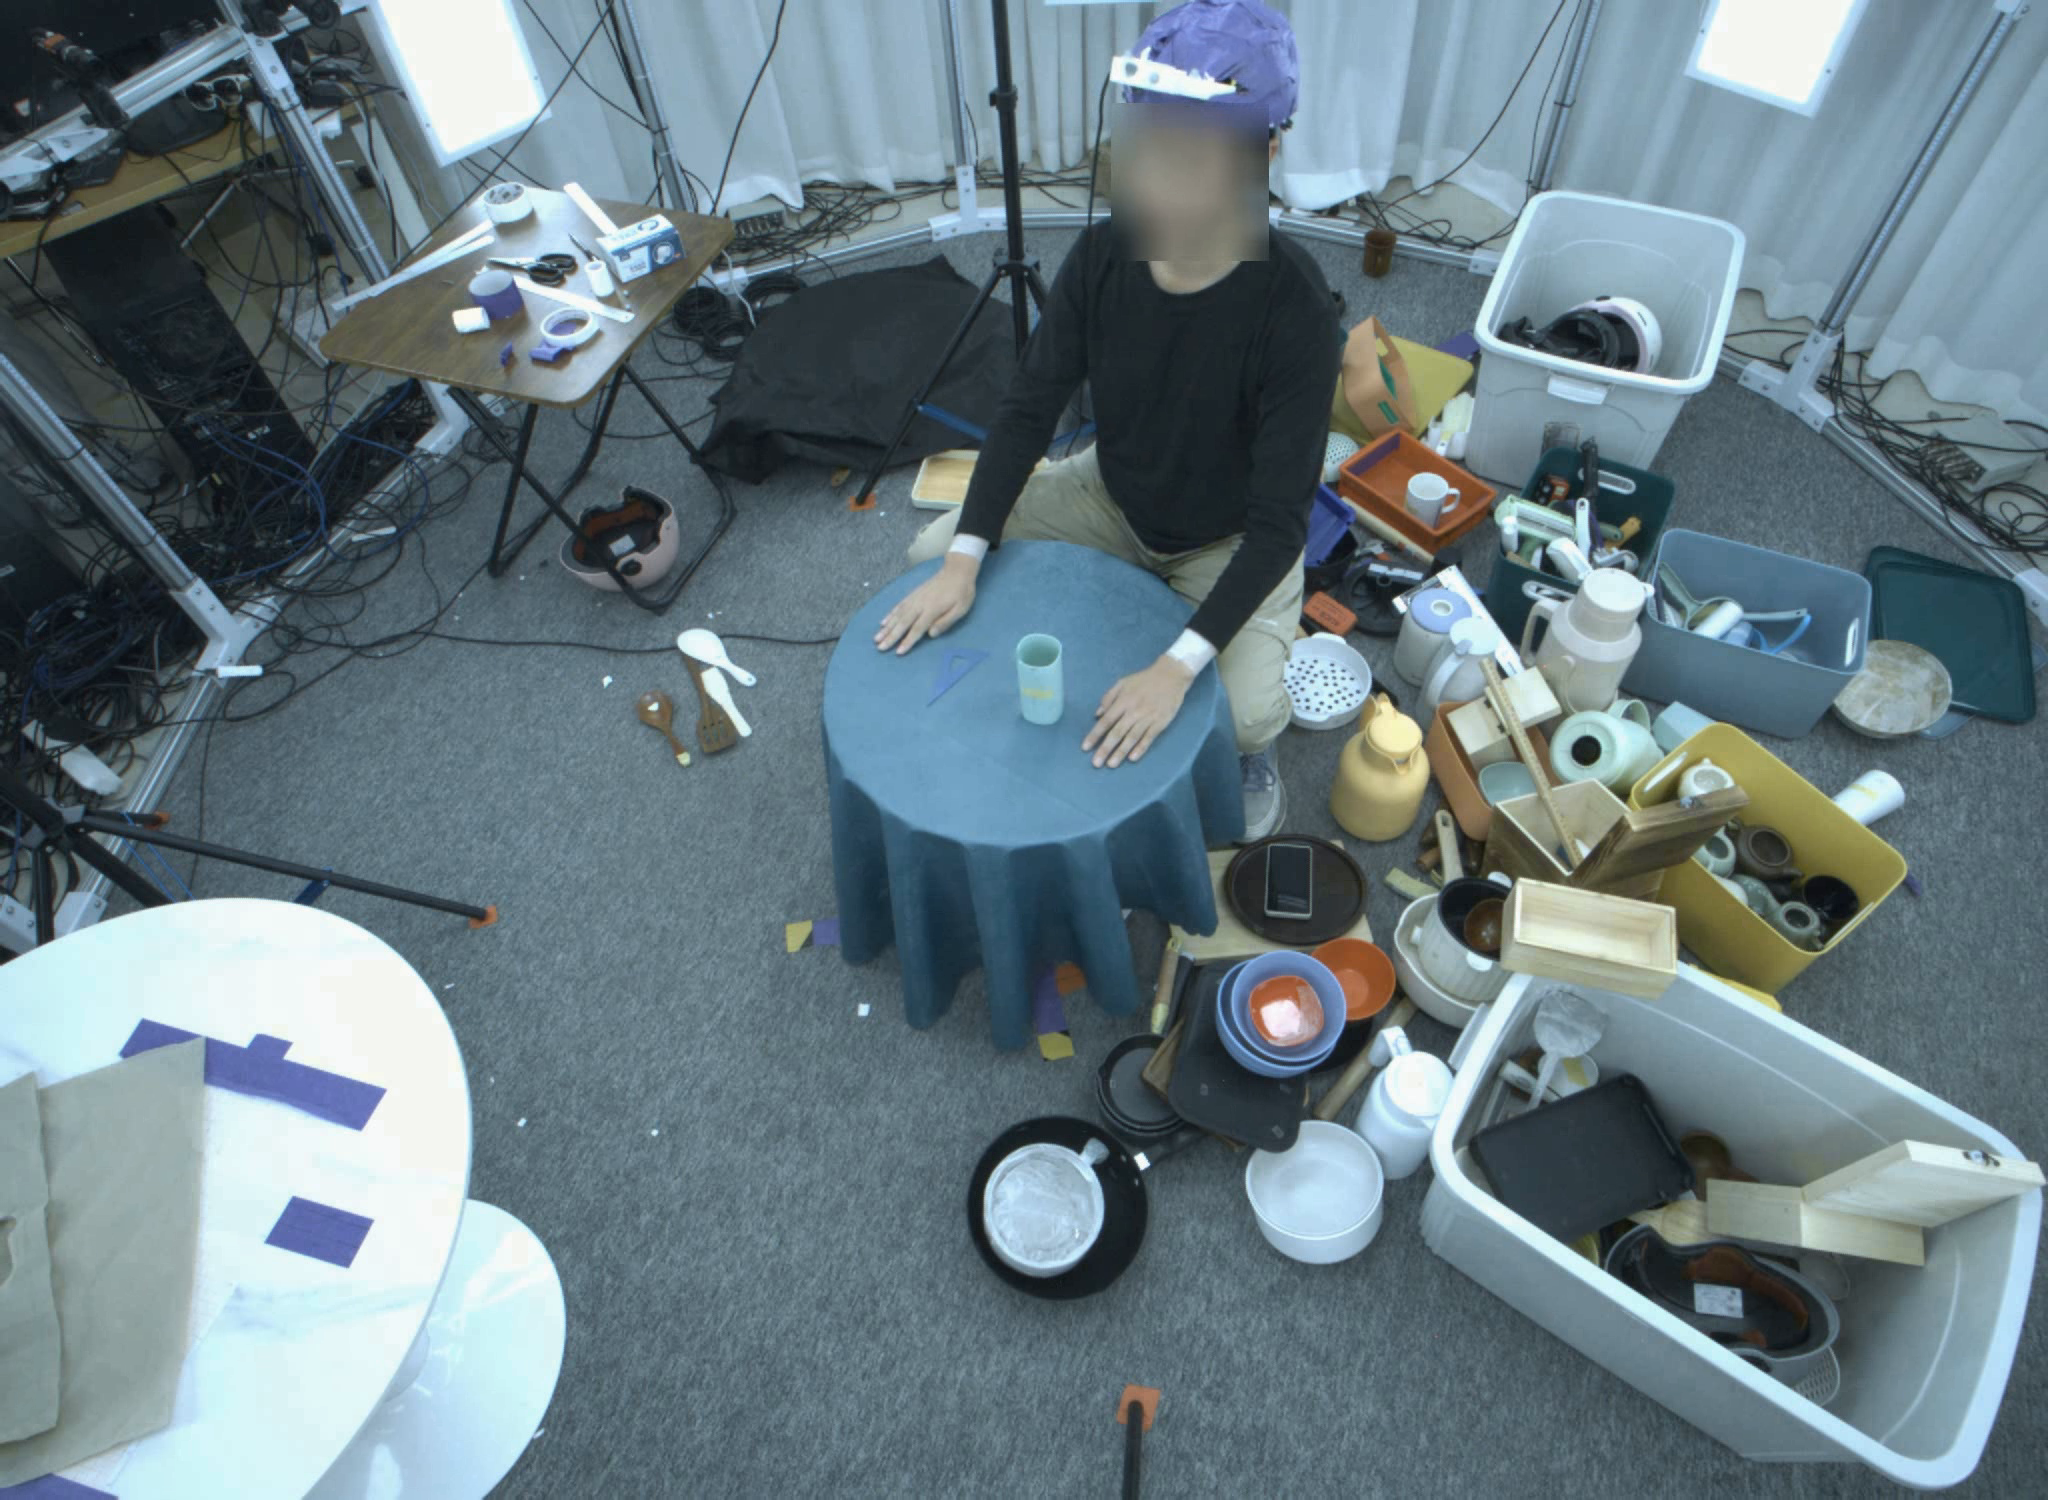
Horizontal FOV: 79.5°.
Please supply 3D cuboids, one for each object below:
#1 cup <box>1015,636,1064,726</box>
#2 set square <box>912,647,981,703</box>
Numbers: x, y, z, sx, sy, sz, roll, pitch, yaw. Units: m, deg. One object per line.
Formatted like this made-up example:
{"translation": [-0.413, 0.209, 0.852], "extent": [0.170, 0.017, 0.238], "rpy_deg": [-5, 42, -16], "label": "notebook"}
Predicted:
{"translation": [0.025, -0.100, 1.782], "extent": [0.066, 0.134, 0.066], "rpy_deg": [-2, 55, 4], "label": "cup"}
{"translation": [-0.133, -0.123, 1.877], "extent": [0.133, 0.006, 0.060], "rpy_deg": [-39, 63, -22], "label": "set square"}
